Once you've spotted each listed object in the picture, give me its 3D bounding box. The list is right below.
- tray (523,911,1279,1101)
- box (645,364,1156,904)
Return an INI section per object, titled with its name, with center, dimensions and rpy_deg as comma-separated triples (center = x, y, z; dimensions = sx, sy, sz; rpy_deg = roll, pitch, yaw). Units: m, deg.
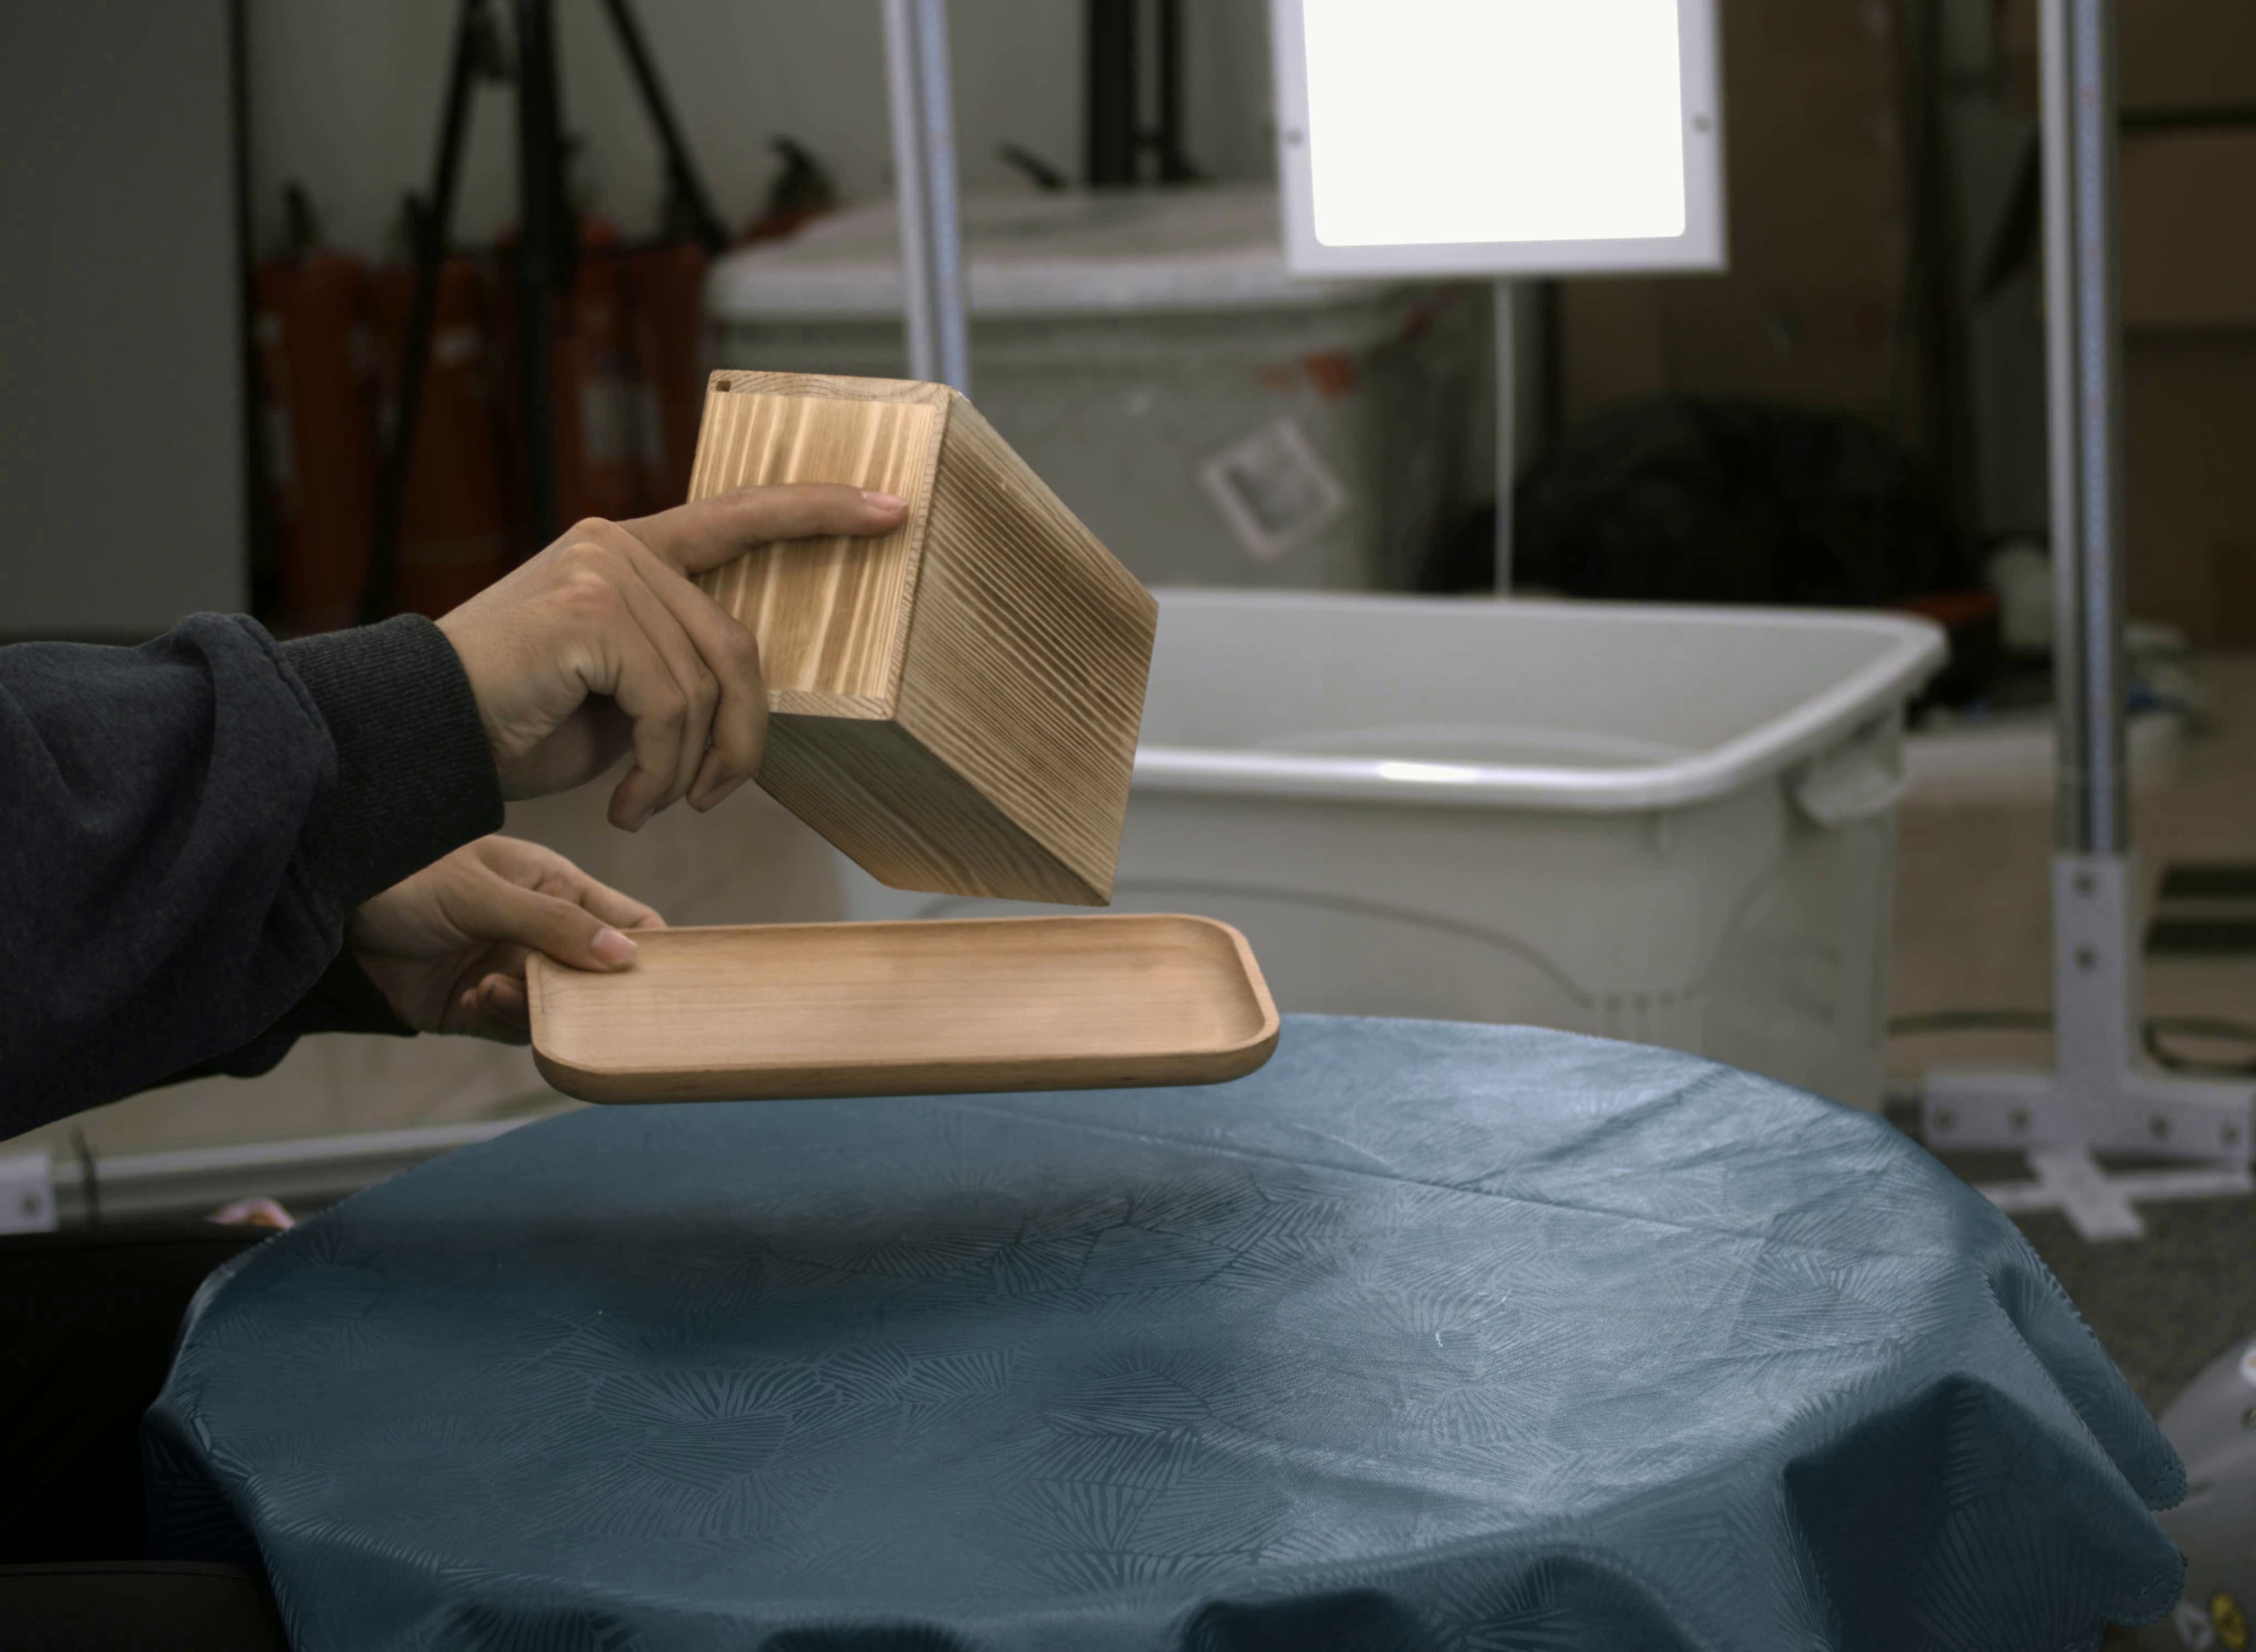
[tray]
center = -0.078, 0.061, 1.862
dimensions = 0.249, 0.023, 0.131
rpy_deg = -2, 18, -5
[box]
center = -0.067, -0.056, 1.719
dimensions = 0.081, 0.107, 0.209
rpy_deg = 5, -15, 20
